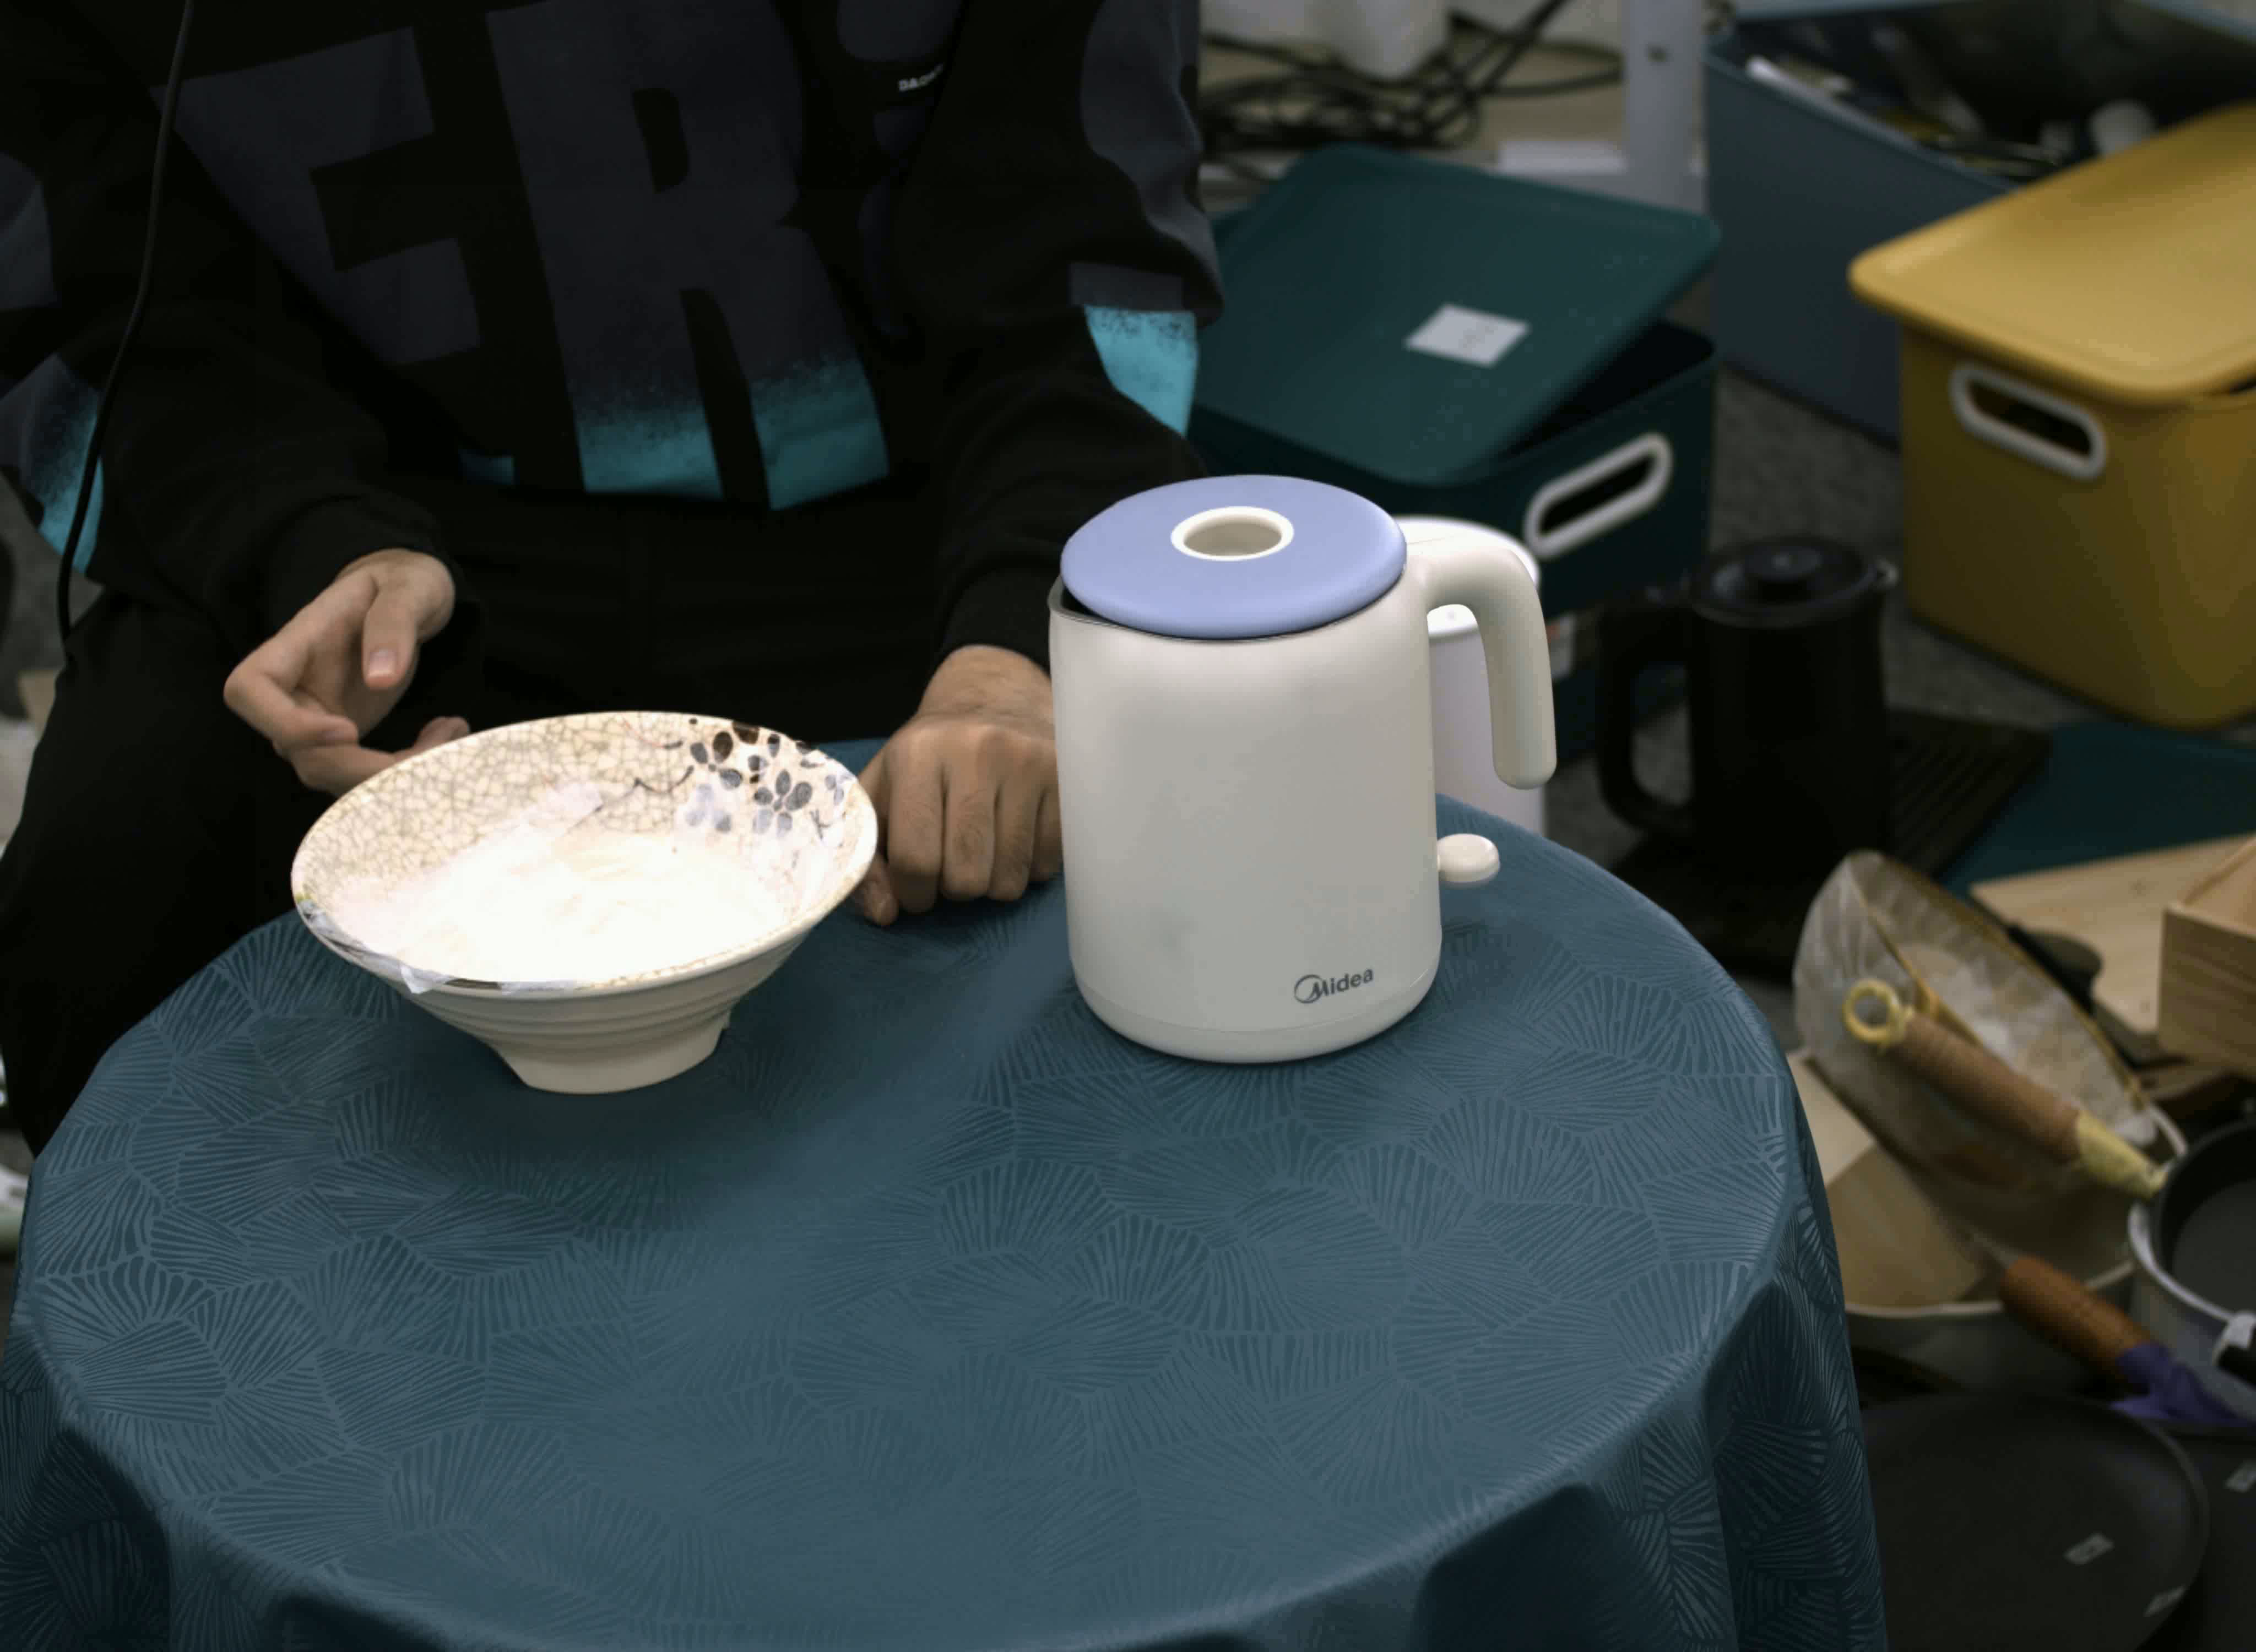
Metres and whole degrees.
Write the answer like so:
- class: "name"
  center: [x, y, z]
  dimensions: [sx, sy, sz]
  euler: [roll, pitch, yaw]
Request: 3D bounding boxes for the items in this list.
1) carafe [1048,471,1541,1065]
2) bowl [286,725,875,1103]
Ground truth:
- class: "carafe"
  center: [0.061, -0.026, 1.956]
  dimensions: [0.192, 0.180, 0.133]
  euler: [-13, 29, -24]
- class: "bowl"
  center: [-0.187, 0.042, 1.952]
  dimensions: [0.203, 0.077, 0.207]
  euler: [-2, 25, 1]
